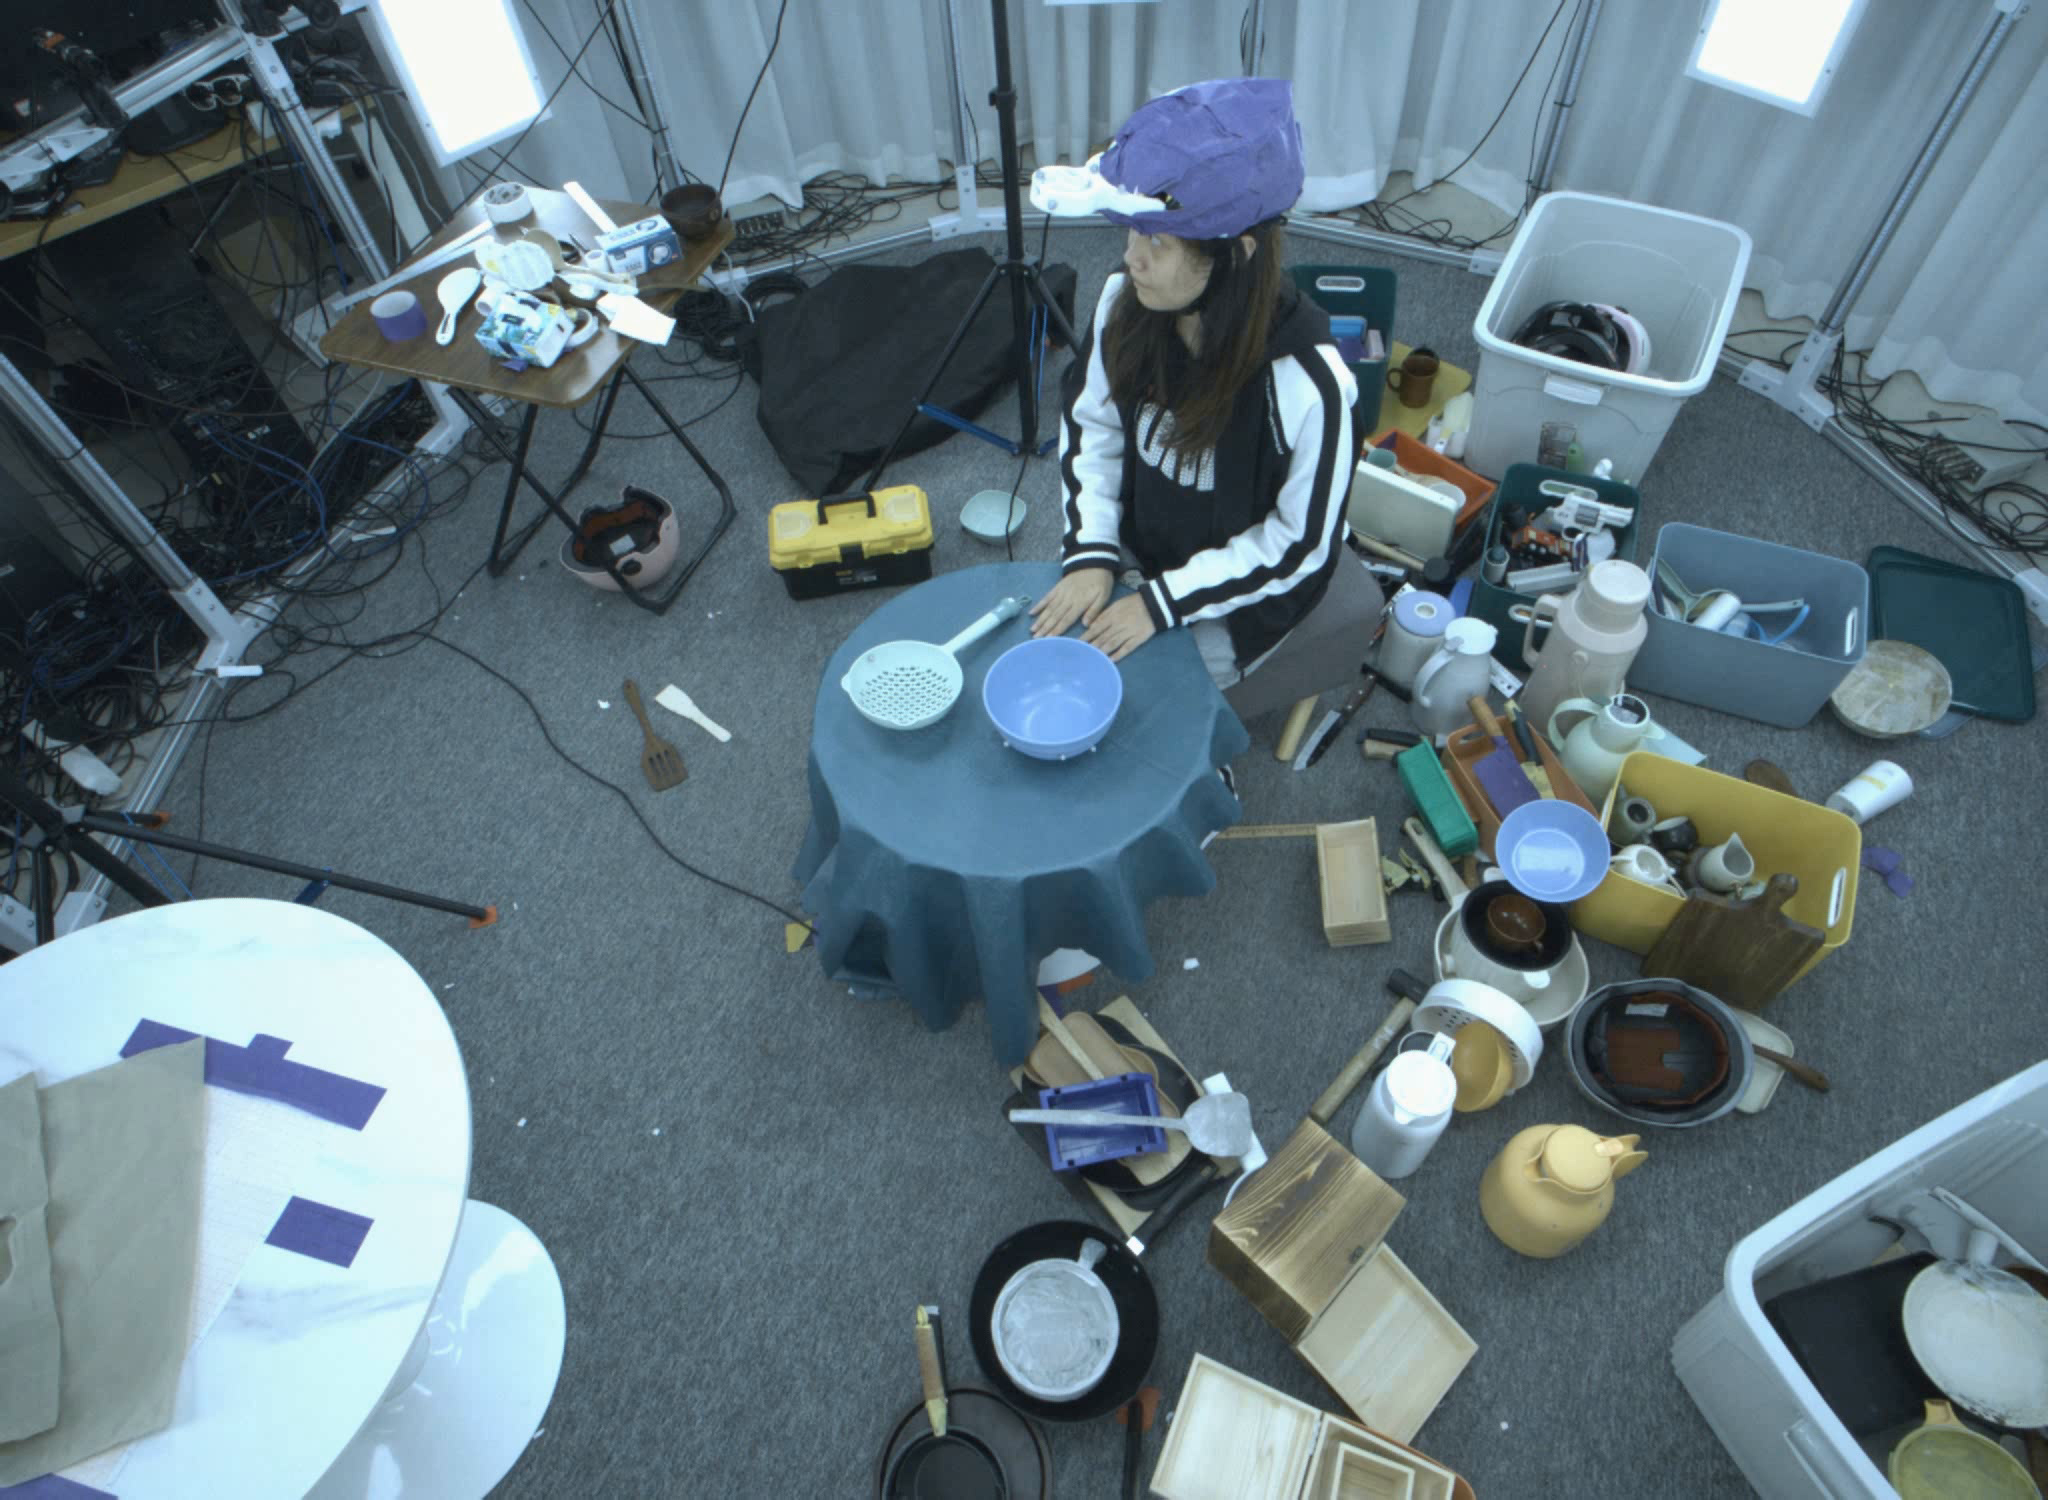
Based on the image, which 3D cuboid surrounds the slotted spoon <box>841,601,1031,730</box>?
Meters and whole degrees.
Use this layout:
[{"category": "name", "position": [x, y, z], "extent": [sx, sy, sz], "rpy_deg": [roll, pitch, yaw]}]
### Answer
[{"category": "slotted spoon", "position": [-0.112, -0.145, 1.859], "extent": [0.166, 0.076, 0.361], "rpy_deg": [34, 61, 23]}]

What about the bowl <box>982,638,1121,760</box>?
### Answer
[{"category": "bowl", "position": [0.042, -0.059, 1.770], "extent": [0.196, 0.096, 0.194], "rpy_deg": [-1, 54, 2]}]
